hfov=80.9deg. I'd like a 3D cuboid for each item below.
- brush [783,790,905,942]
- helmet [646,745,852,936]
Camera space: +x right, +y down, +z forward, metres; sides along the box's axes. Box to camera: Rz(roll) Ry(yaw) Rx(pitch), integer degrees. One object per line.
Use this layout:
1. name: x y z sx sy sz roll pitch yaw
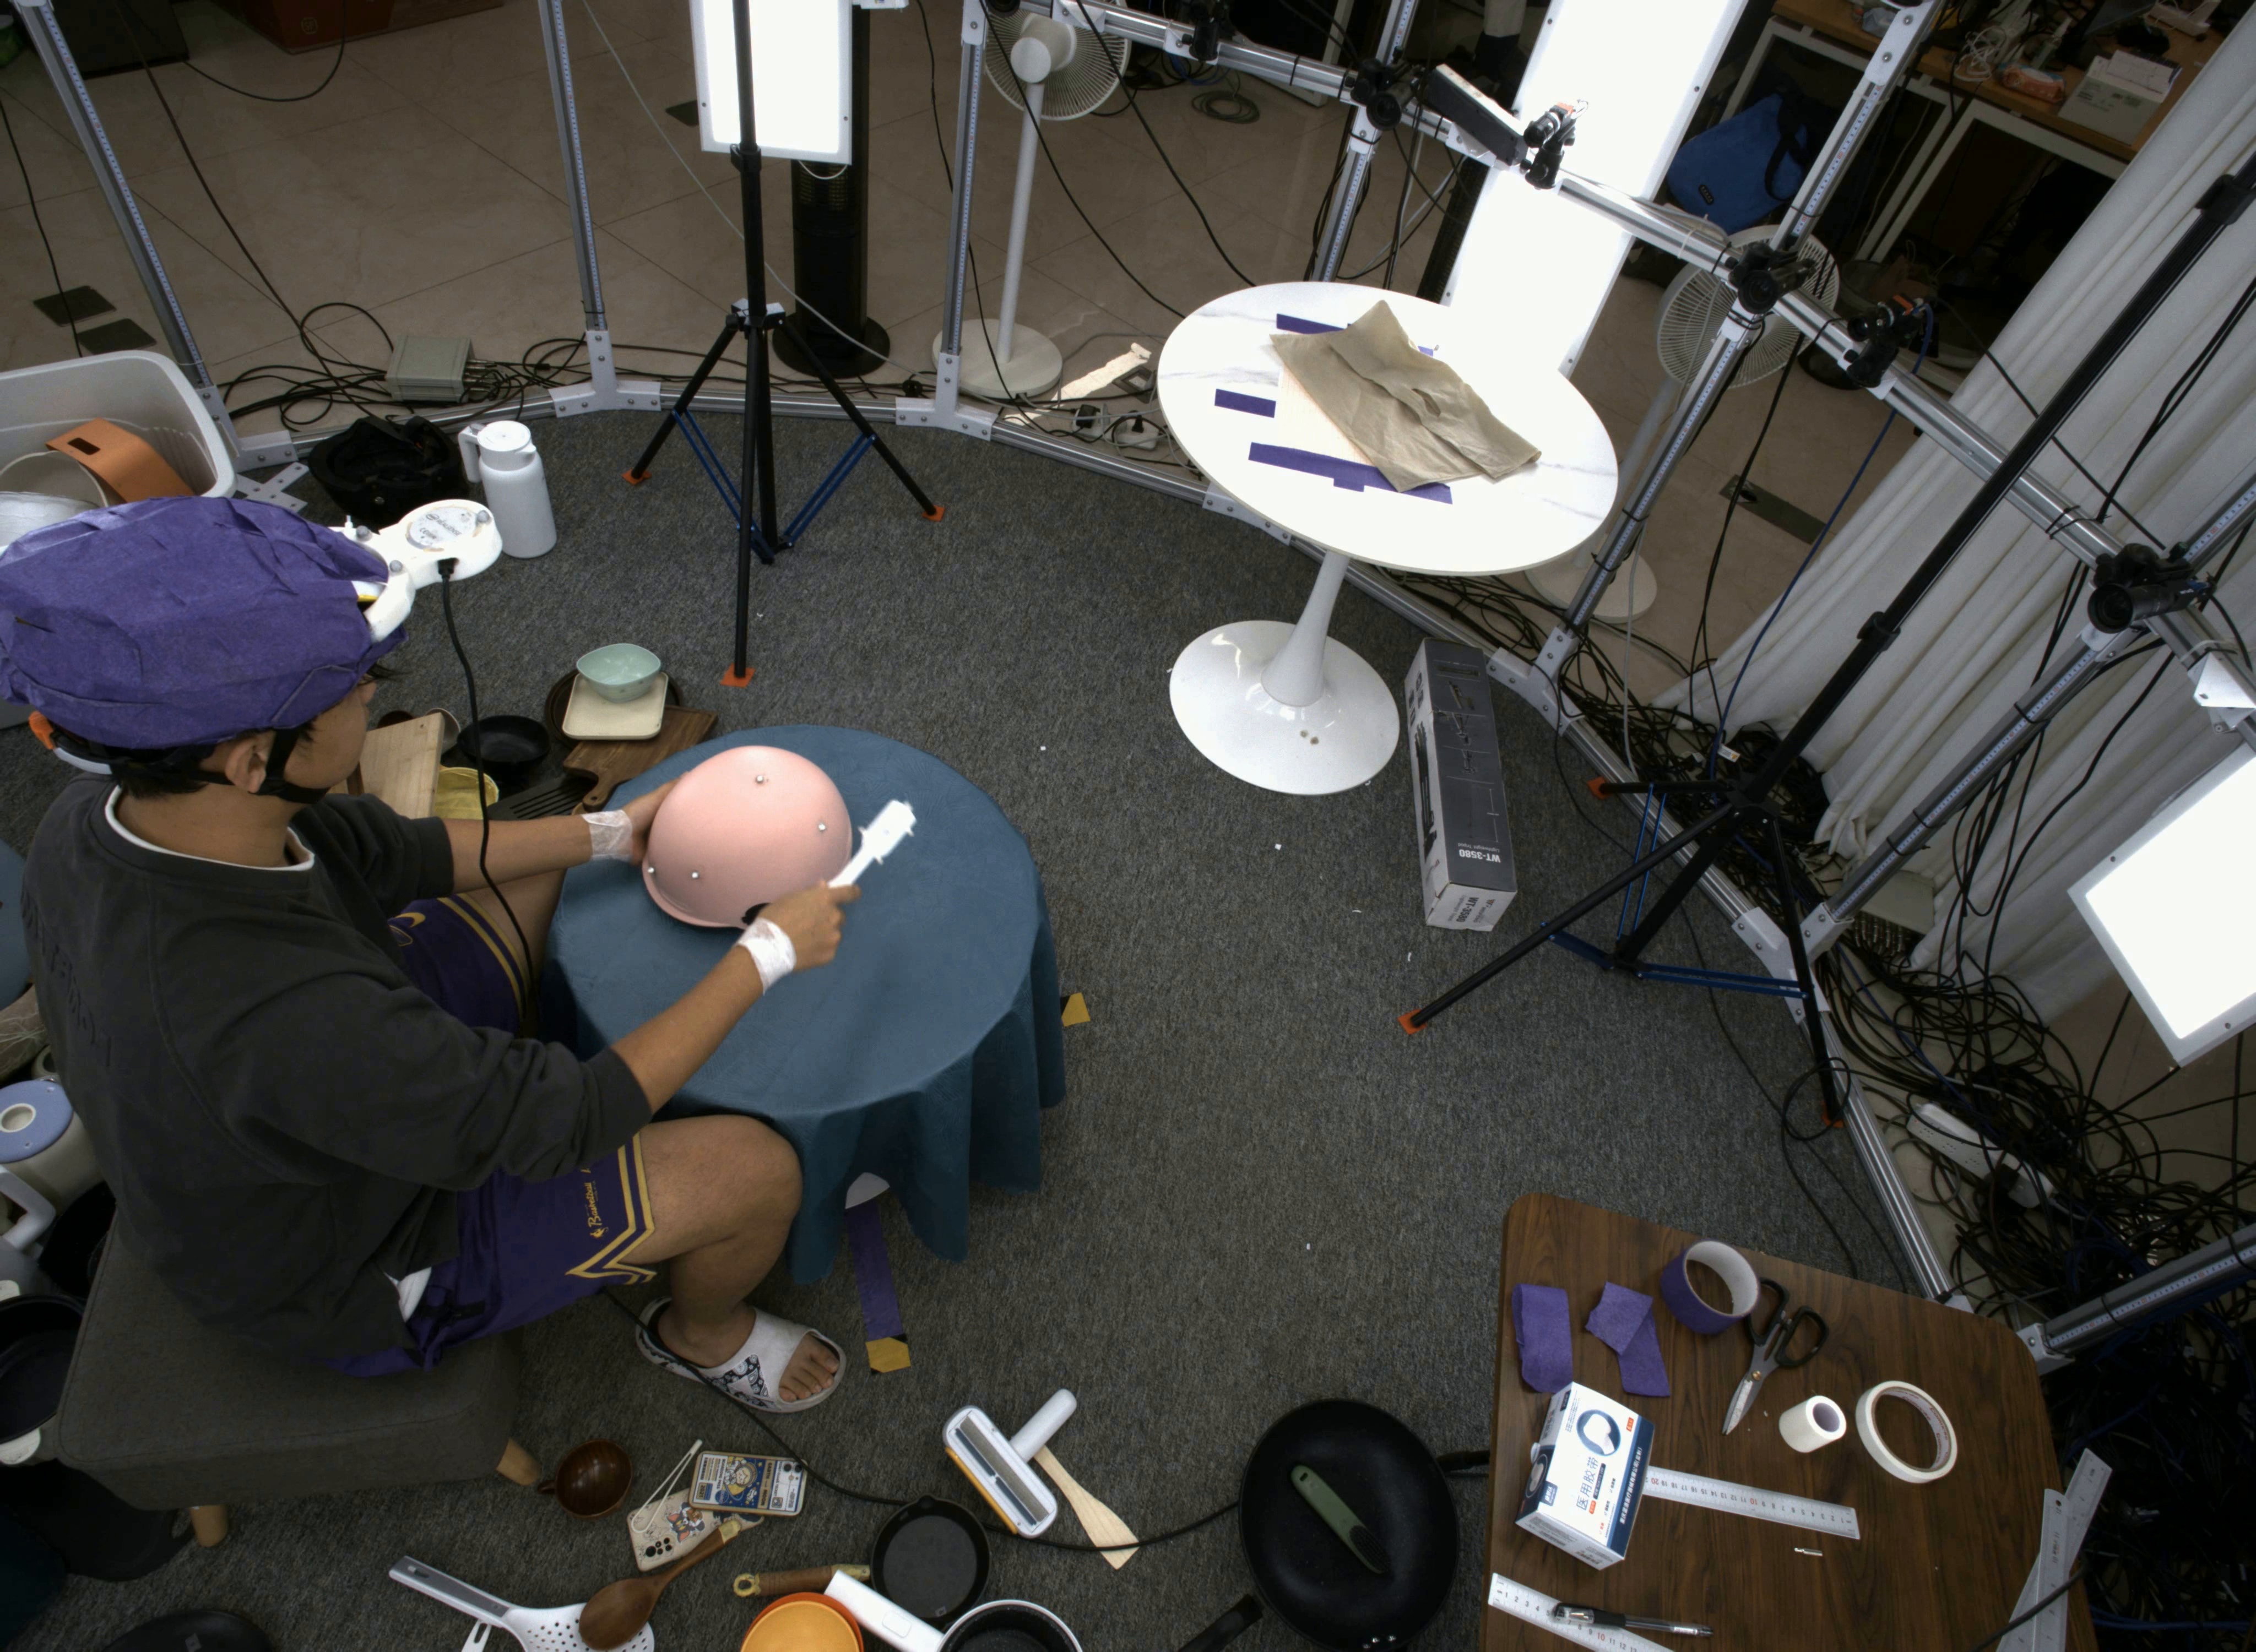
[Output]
1. brush: -0.323 0.047 1.468 0.035 0.050 0.242 37 50 -8
2. helmet: -0.478 -0.001 1.609 0.267 0.161 0.229 -25 68 -24
